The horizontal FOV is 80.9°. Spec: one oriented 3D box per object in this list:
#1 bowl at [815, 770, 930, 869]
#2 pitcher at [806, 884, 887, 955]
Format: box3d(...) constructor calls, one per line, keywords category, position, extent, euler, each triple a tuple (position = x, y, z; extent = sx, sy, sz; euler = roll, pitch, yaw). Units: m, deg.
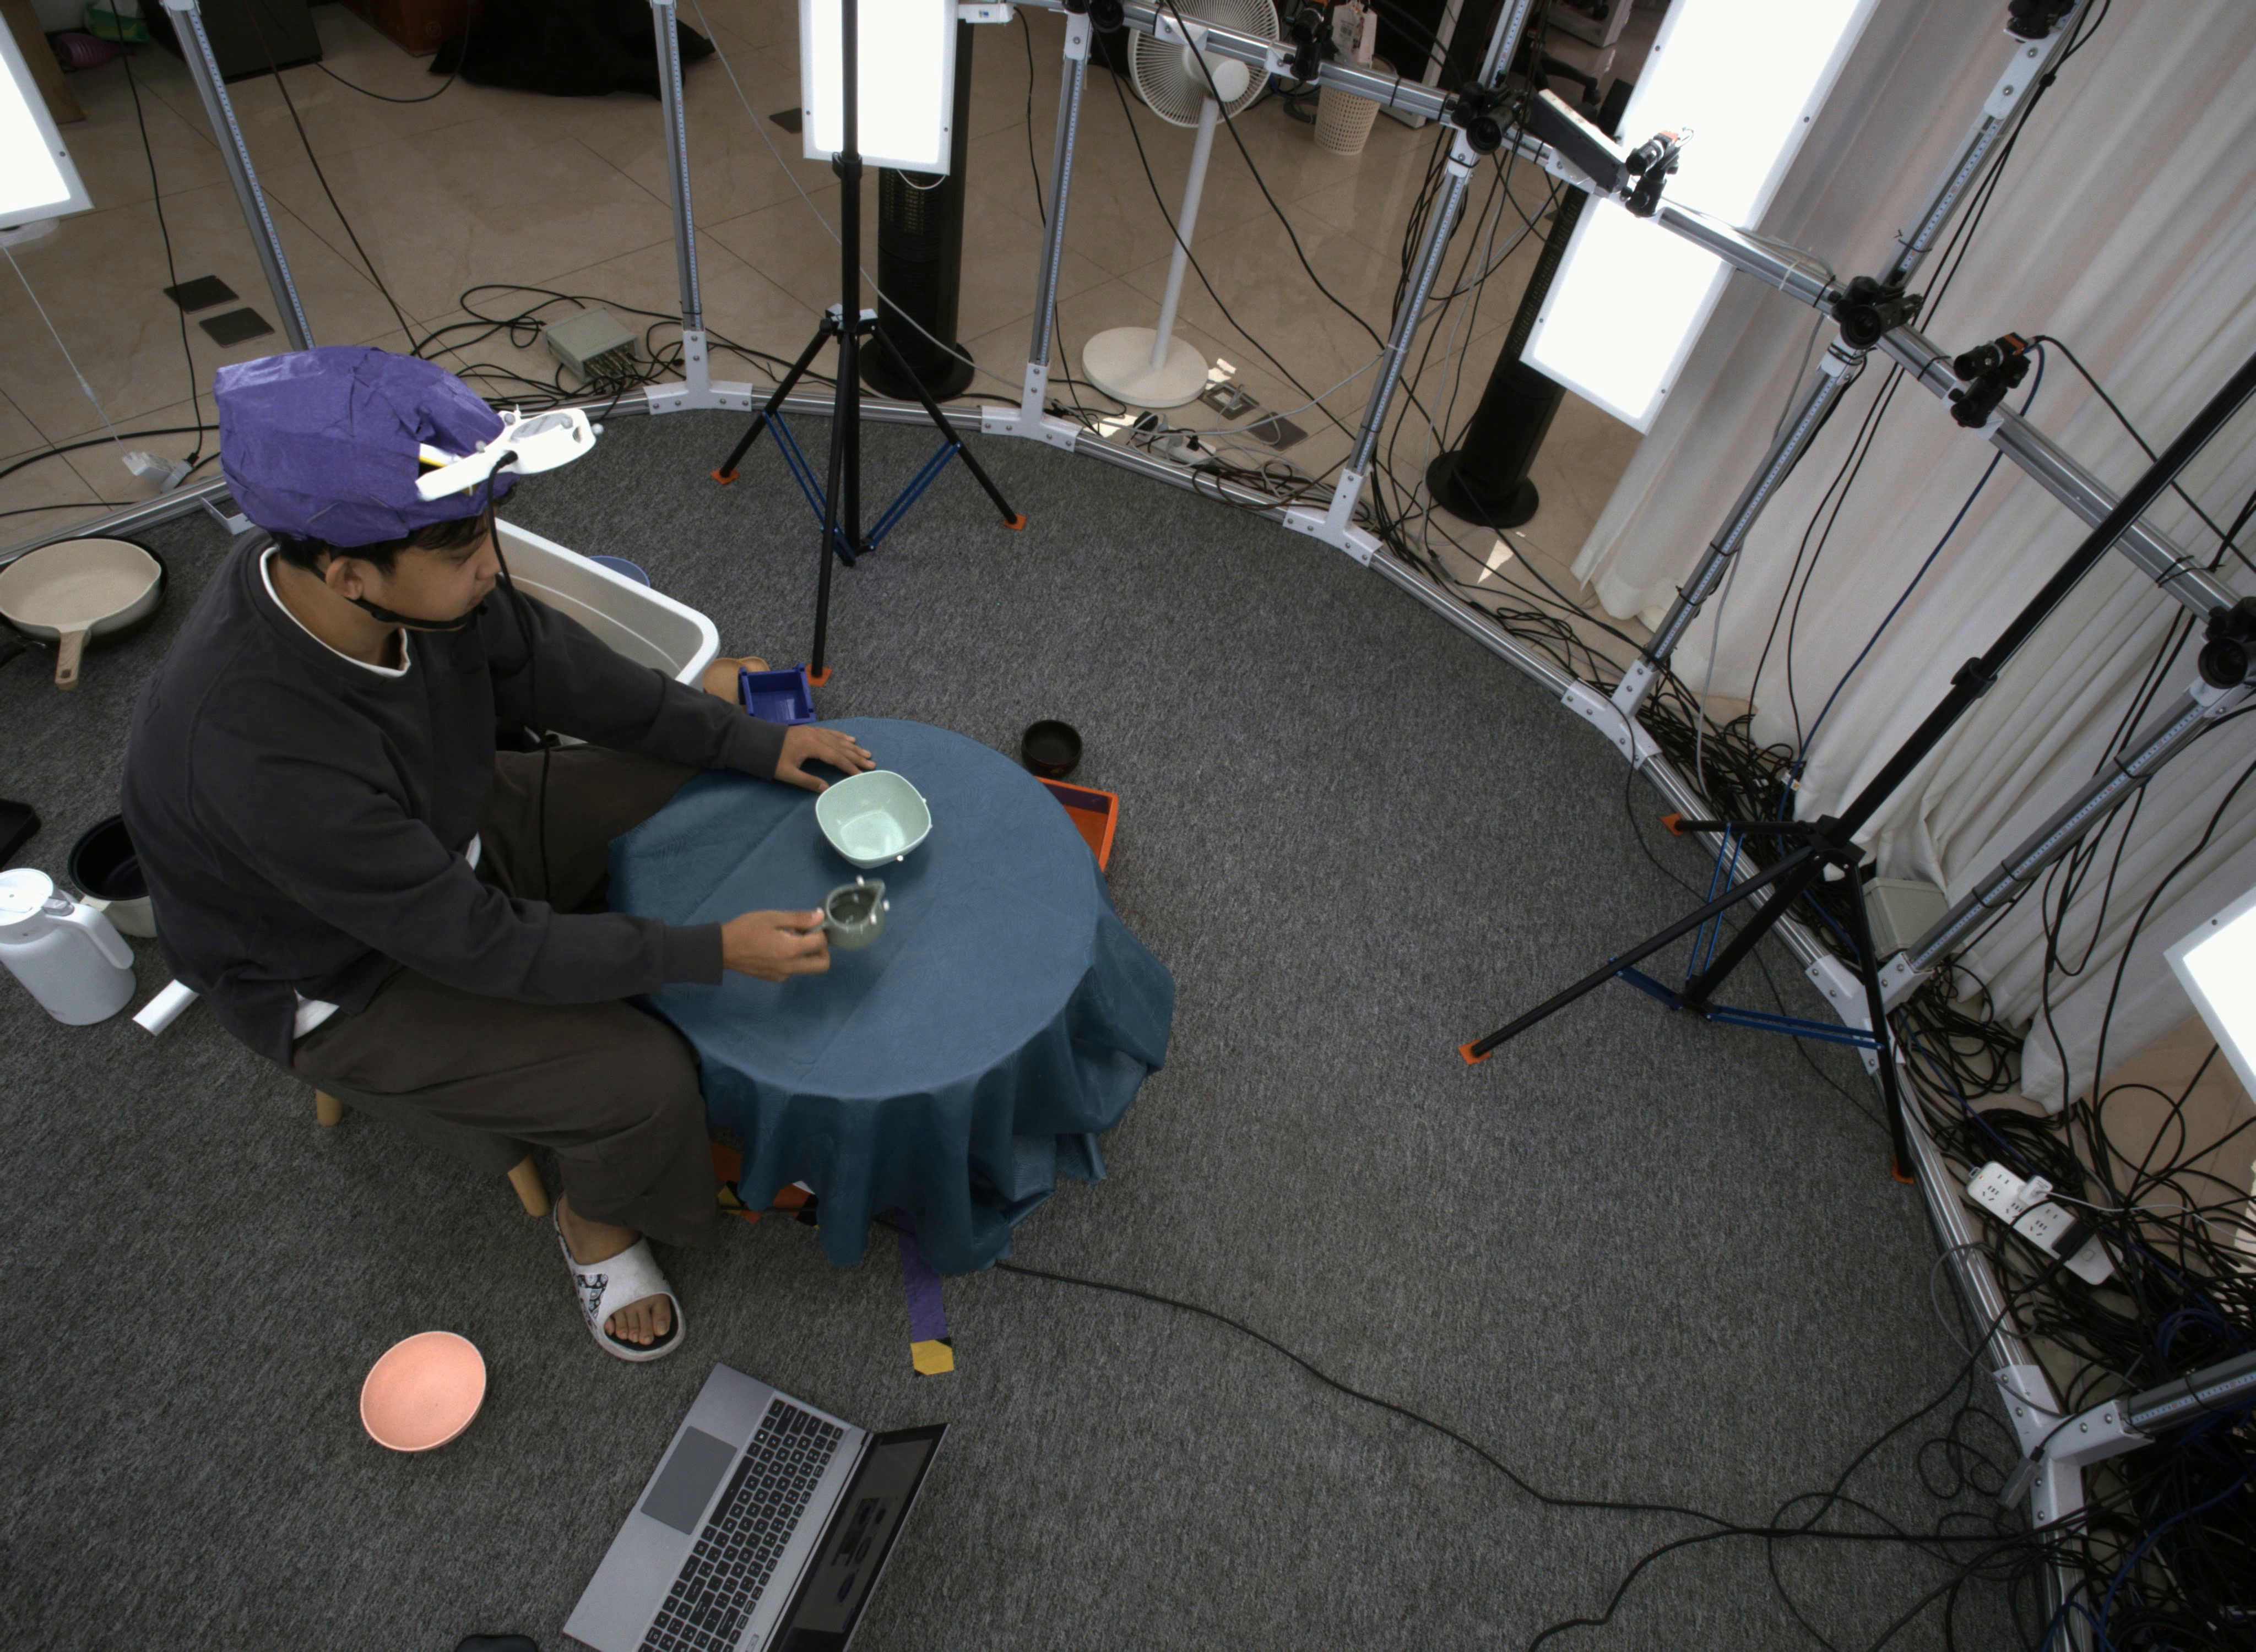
box3d(category="bowl", position=(-0.335, 0.001, 1.706), extent=(0.151, 0.060, 0.149), euler=(8, 52, -9))
box3d(category="pitcher", position=(-0.336, 0.112, 1.549), extent=(0.113, 0.057, 0.083), euler=(-36, 76, -27))
